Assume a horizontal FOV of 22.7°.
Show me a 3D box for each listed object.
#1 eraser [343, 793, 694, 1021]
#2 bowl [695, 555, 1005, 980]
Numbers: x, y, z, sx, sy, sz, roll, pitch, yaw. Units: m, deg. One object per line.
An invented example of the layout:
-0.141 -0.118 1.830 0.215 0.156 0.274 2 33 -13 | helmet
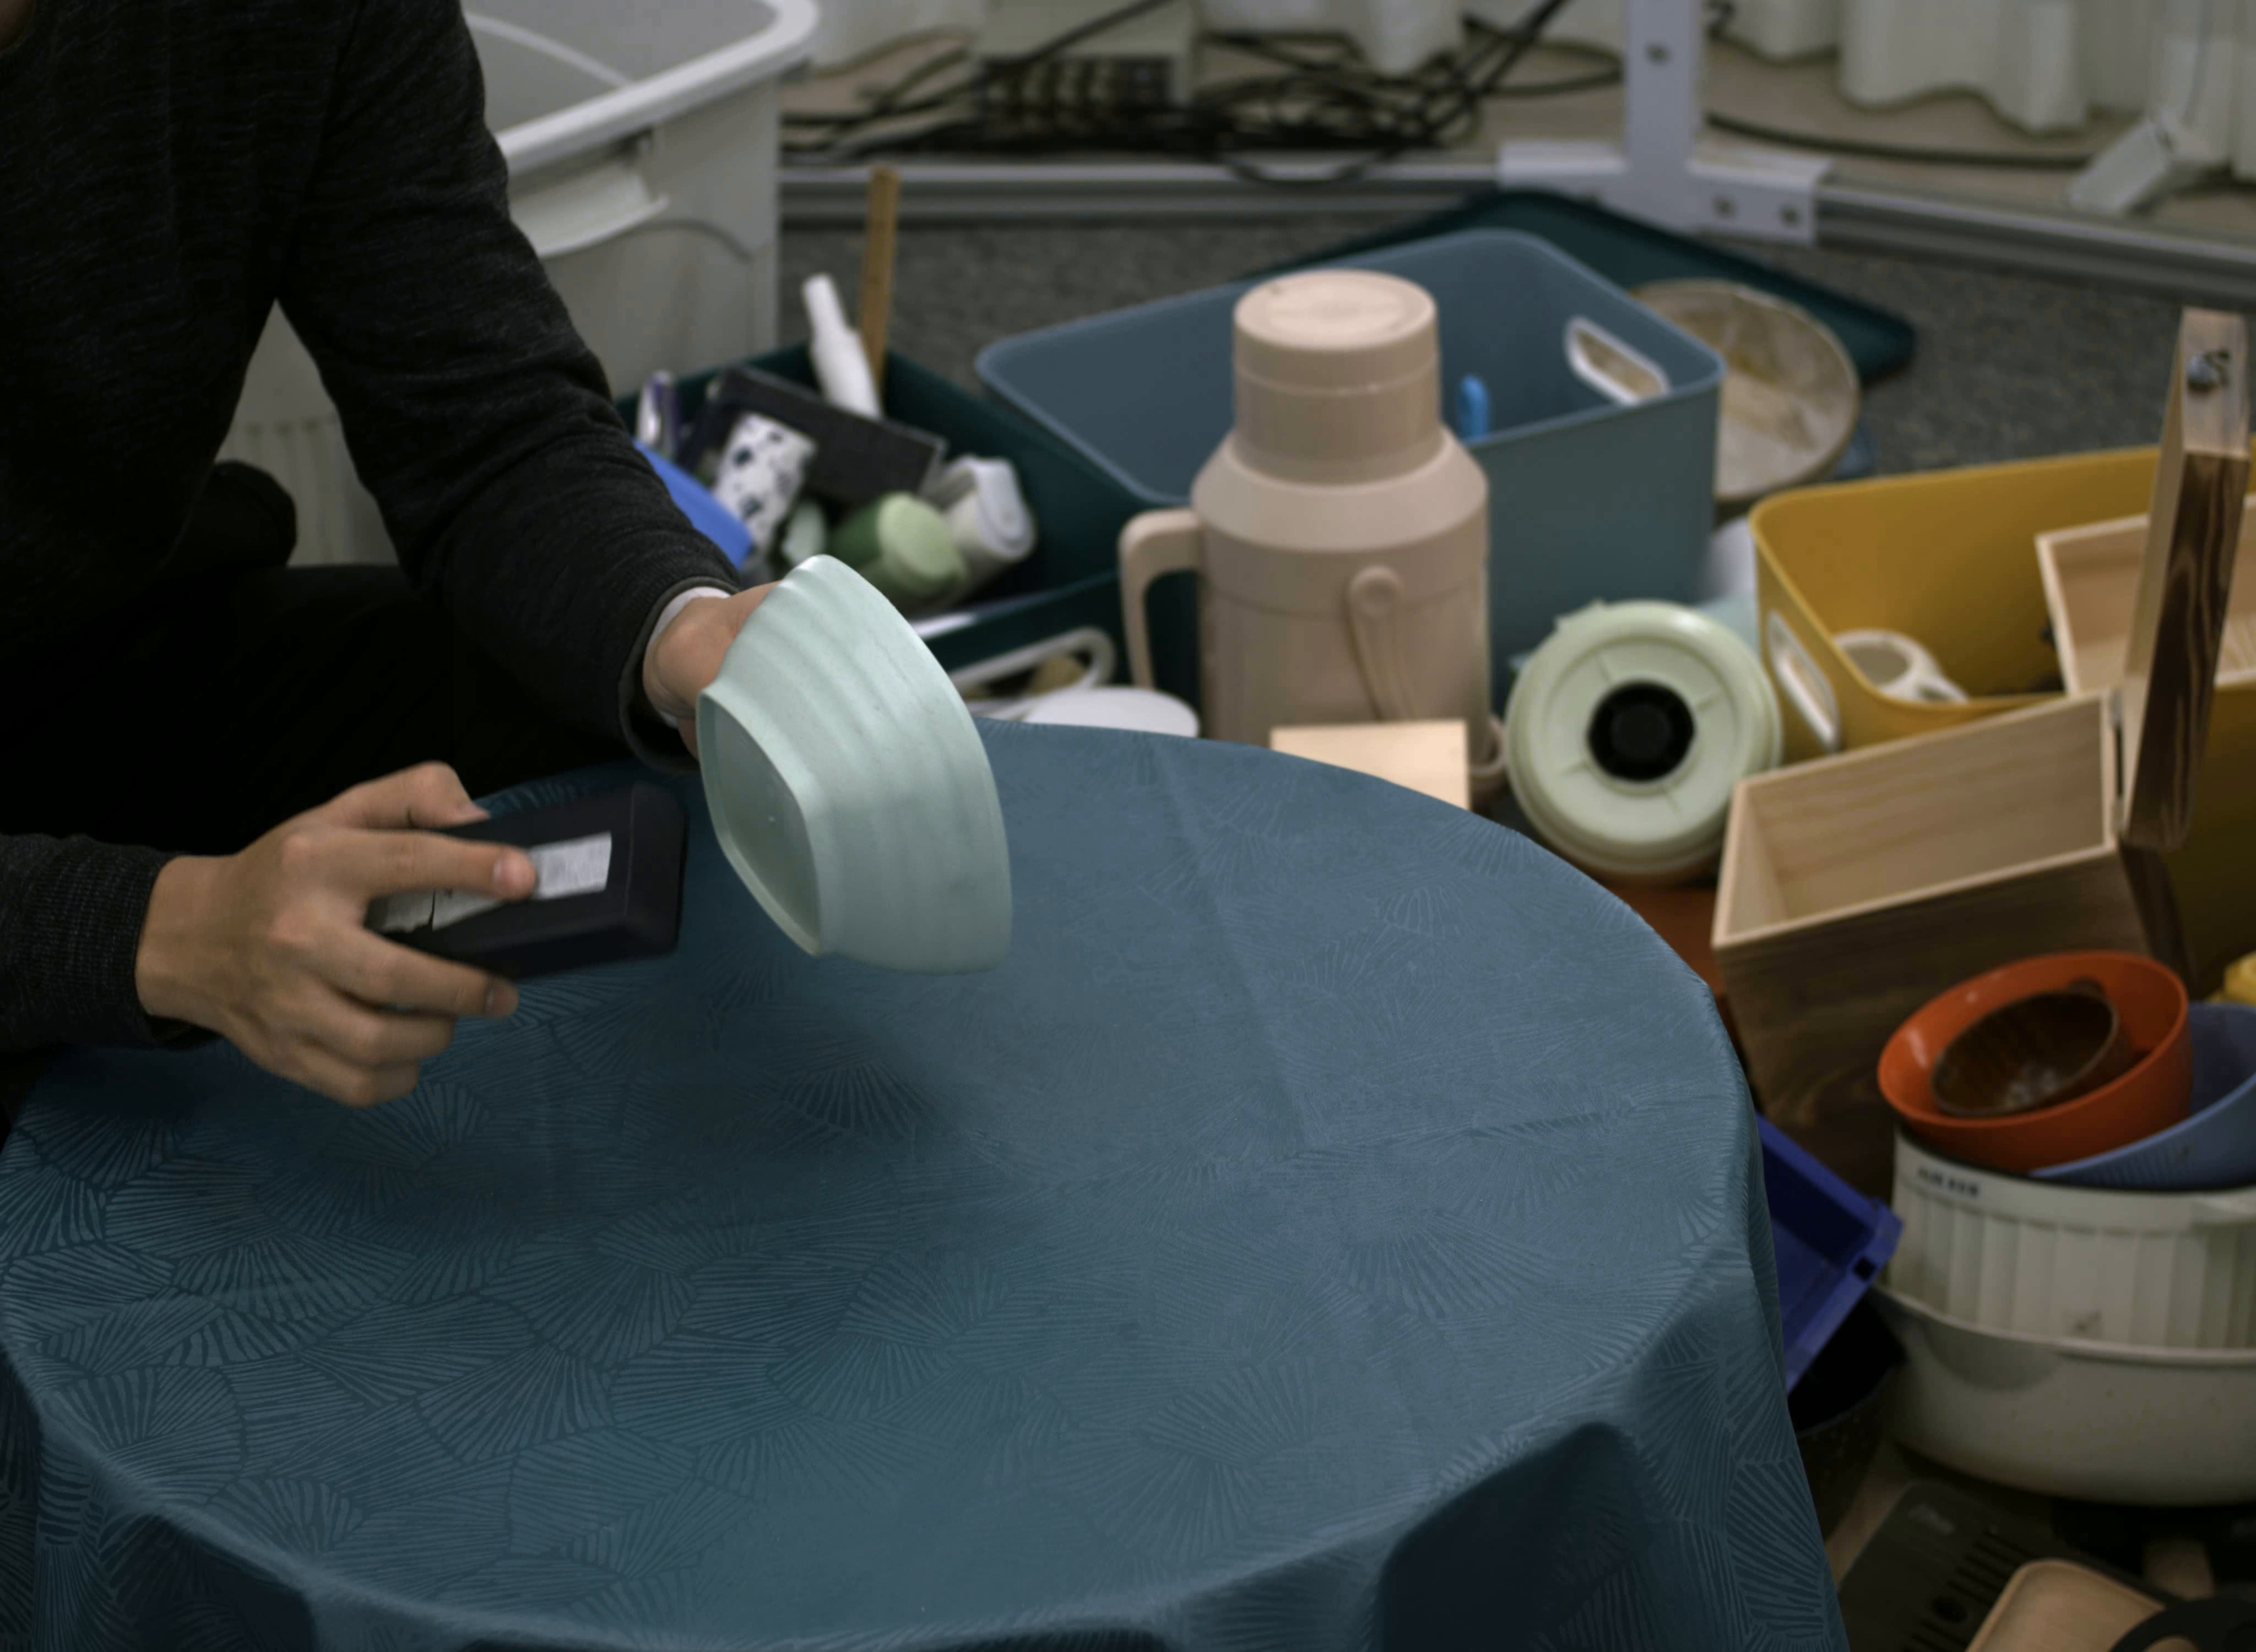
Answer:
-0.197 0.027 1.821 0.124 0.030 0.054 -12 61 32 | eraser
-0.099 -0.010 1.873 0.059 0.150 0.152 -23 32 -20 | bowl
